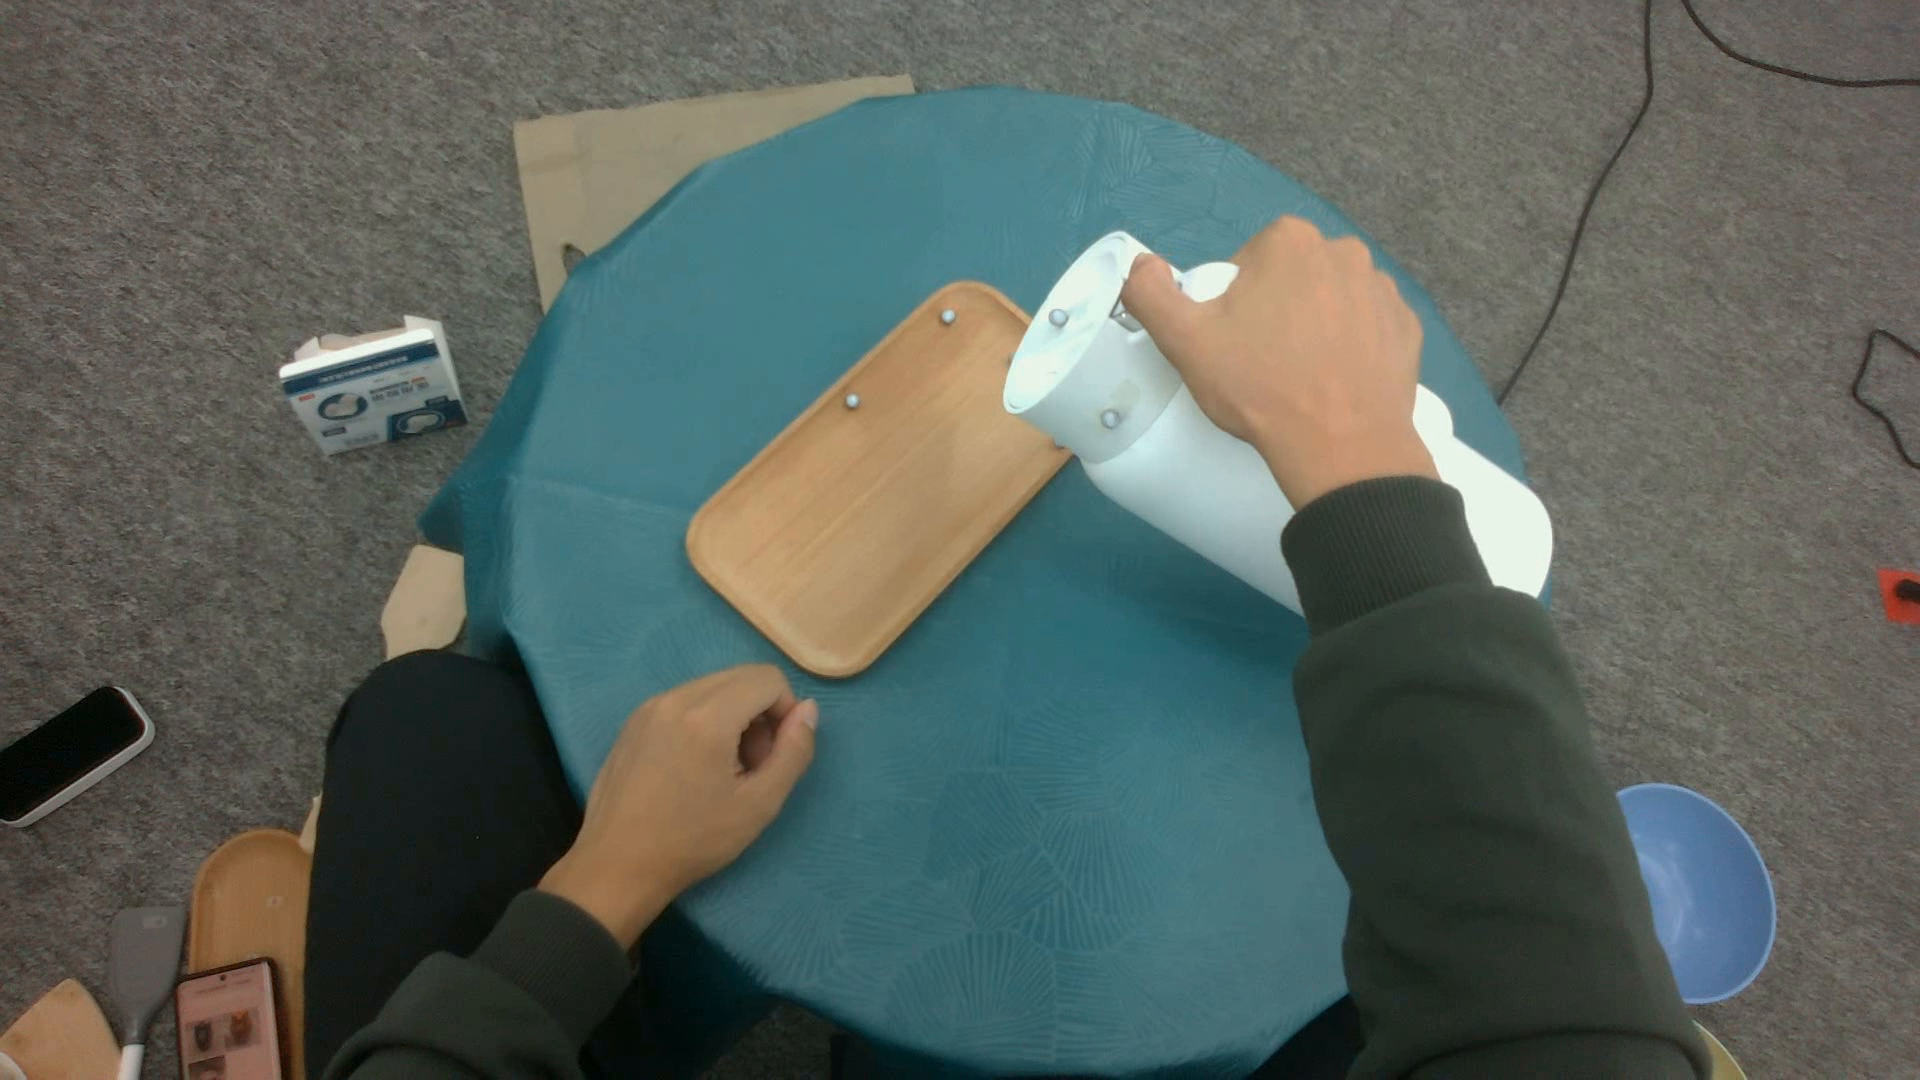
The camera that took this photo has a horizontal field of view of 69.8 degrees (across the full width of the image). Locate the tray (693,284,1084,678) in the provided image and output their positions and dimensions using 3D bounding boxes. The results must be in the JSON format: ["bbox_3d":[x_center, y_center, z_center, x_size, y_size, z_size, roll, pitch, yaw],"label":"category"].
[{"bbox_3d":[-0.029,-0.039,0.791,0.130,0.023,0.251,41,69,11],"label":"tray"}]

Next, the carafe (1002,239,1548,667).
[{"bbox_3d":[0.166,-0.045,0.679,0.269,0.172,0.124,30,71,-17],"label":"carafe"}]
